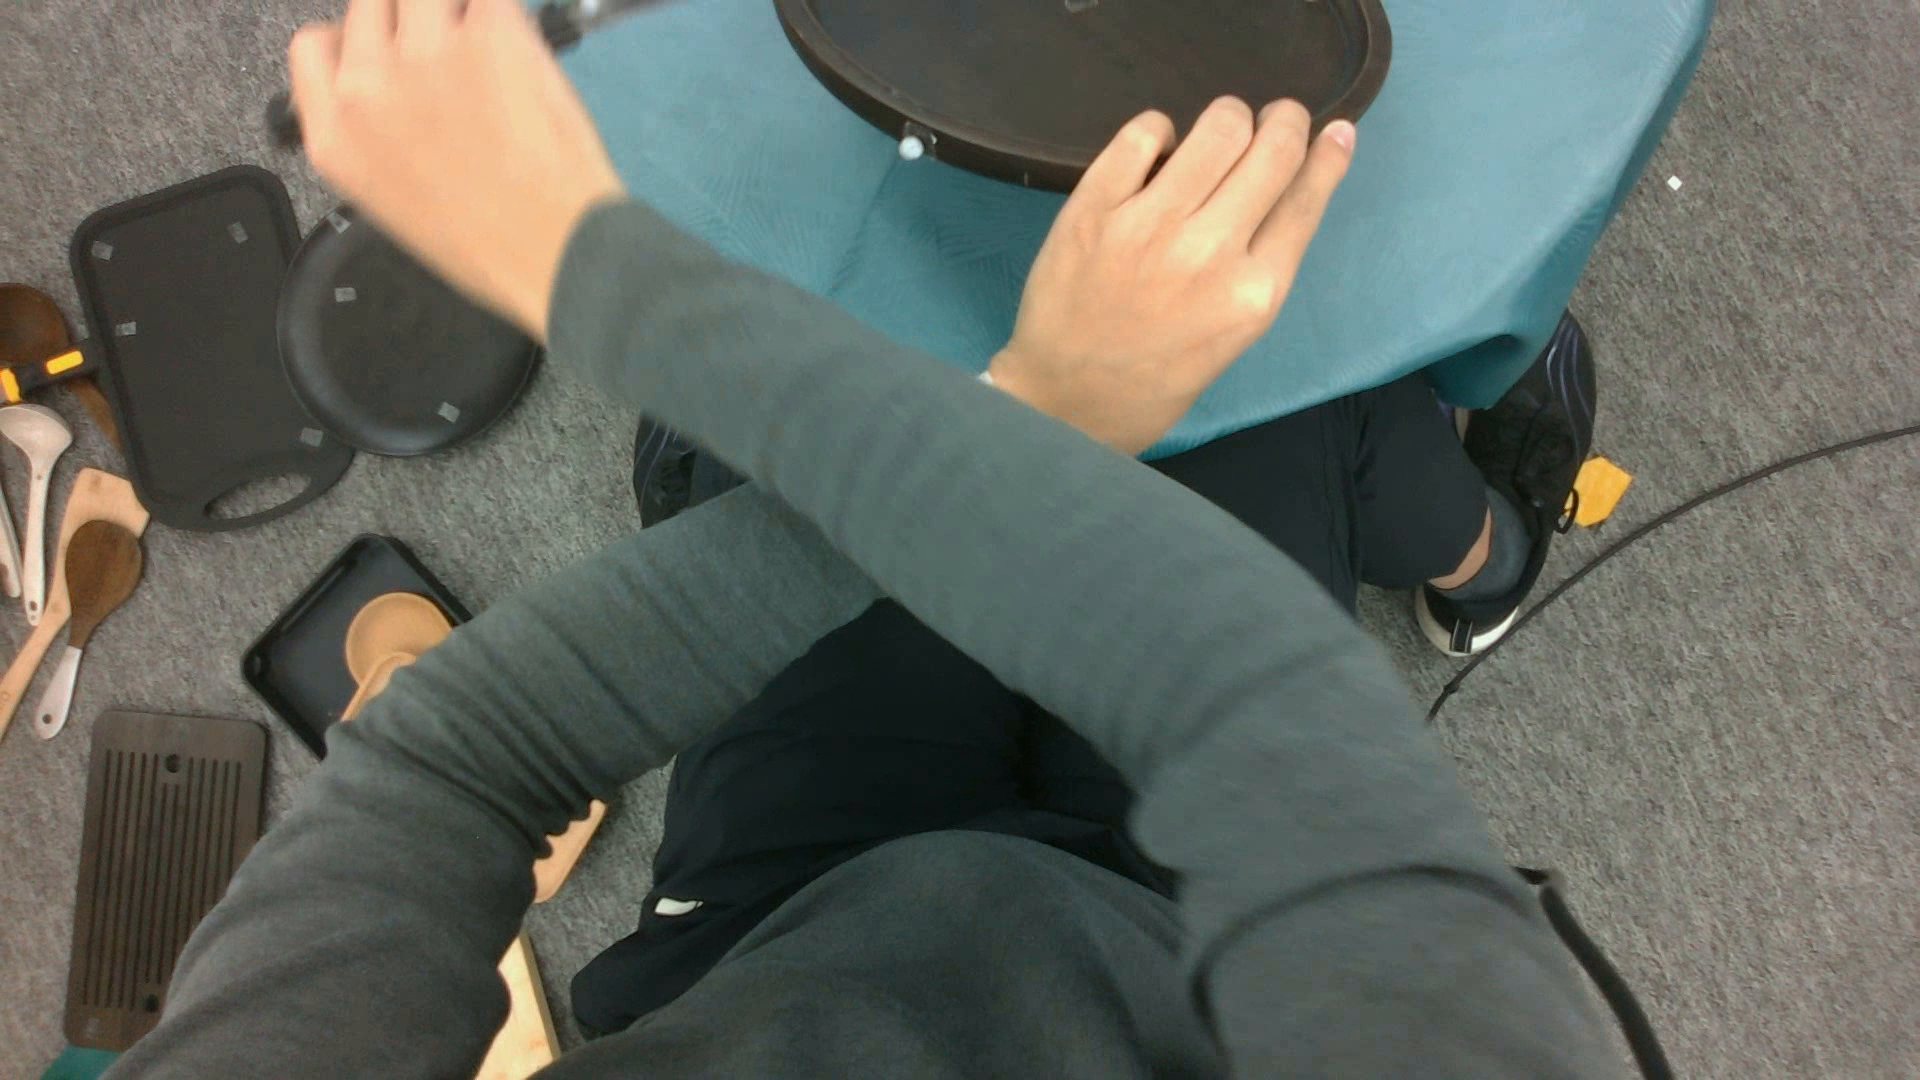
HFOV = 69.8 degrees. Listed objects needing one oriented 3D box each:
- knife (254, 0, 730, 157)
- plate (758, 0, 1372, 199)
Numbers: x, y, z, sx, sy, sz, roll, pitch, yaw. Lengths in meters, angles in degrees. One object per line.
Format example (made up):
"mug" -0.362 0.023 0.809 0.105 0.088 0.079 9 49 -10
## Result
"knife" -0.141 -0.189 0.514 0.239 0.016 0.024 -28 57 -21
"plate" 0.044 -0.221 0.571 0.255 0.029 0.256 3 49 -4
